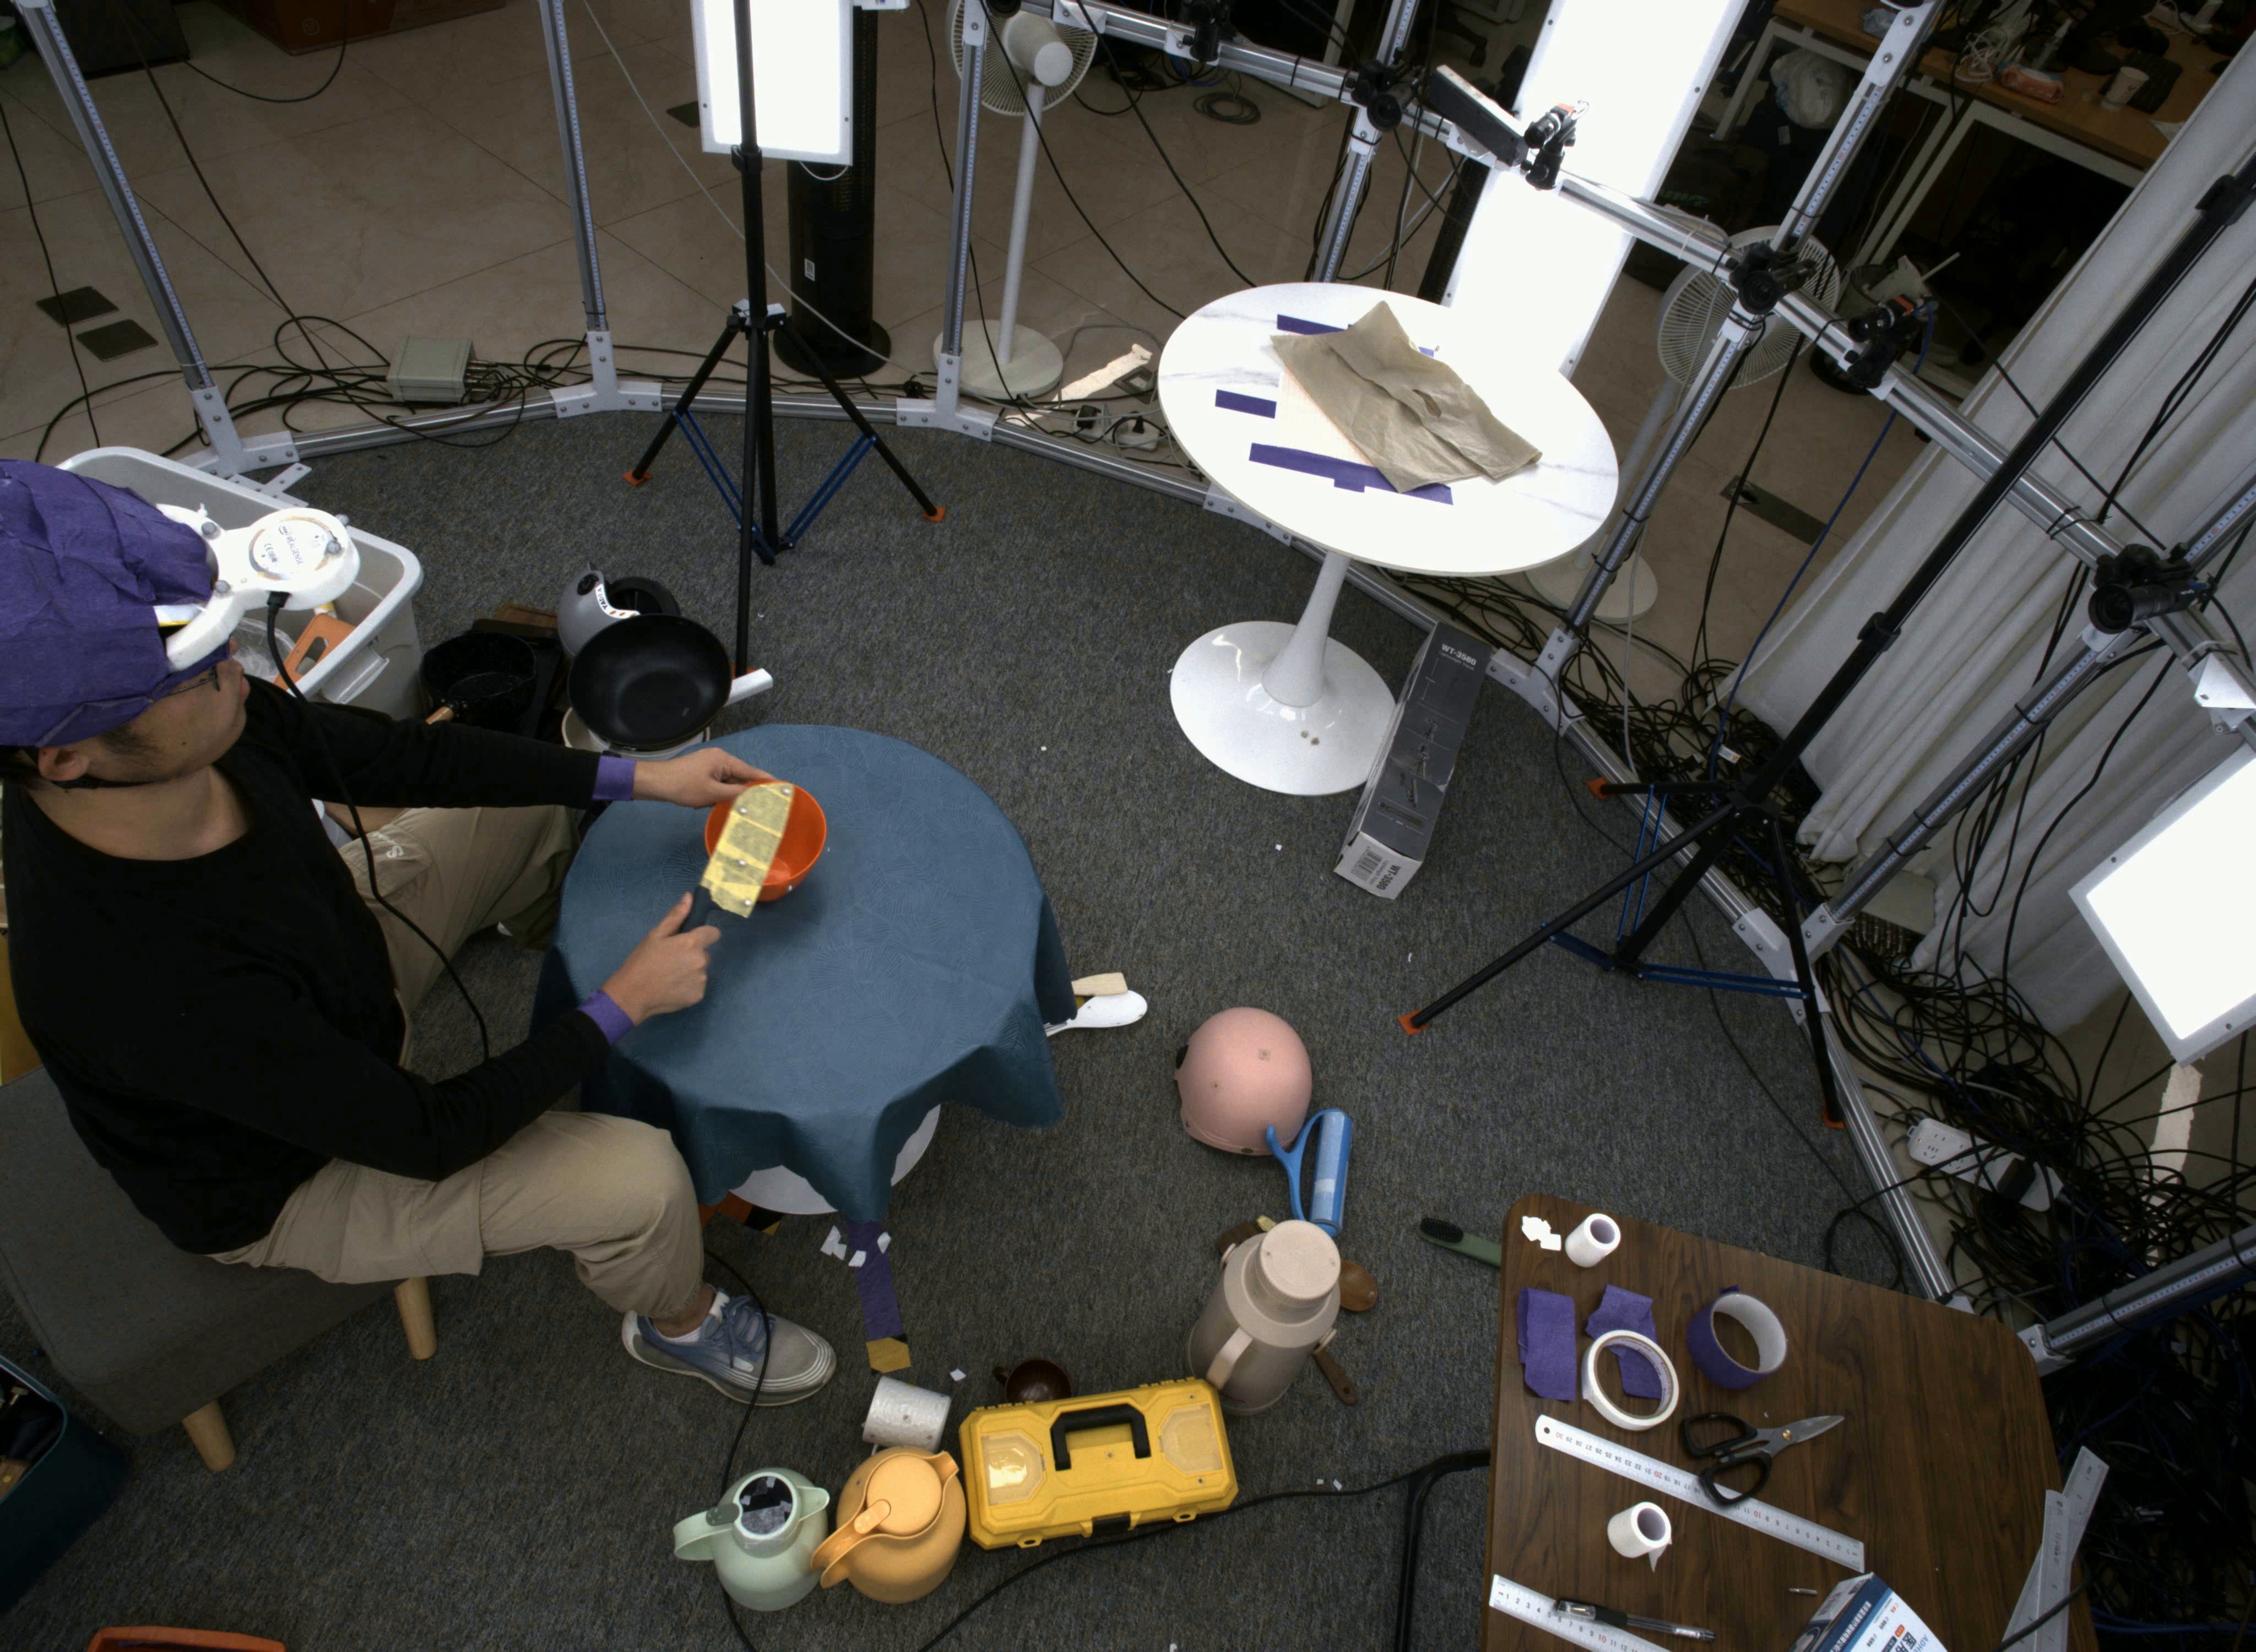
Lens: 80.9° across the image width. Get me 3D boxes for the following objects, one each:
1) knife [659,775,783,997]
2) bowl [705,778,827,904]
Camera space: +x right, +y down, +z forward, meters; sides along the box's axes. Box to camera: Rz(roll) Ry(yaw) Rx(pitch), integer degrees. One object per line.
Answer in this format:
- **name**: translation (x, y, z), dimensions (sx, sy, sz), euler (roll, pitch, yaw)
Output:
- **knife**: translation (-0.482, 0.069, 1.533), dimensions (0.083, 0.026, 0.290), euler (31, 73, -34)
- **bowl**: translation (-0.452, 0.030, 1.626), dimensions (0.148, 0.106, 0.145), euler (8, 53, -9)
